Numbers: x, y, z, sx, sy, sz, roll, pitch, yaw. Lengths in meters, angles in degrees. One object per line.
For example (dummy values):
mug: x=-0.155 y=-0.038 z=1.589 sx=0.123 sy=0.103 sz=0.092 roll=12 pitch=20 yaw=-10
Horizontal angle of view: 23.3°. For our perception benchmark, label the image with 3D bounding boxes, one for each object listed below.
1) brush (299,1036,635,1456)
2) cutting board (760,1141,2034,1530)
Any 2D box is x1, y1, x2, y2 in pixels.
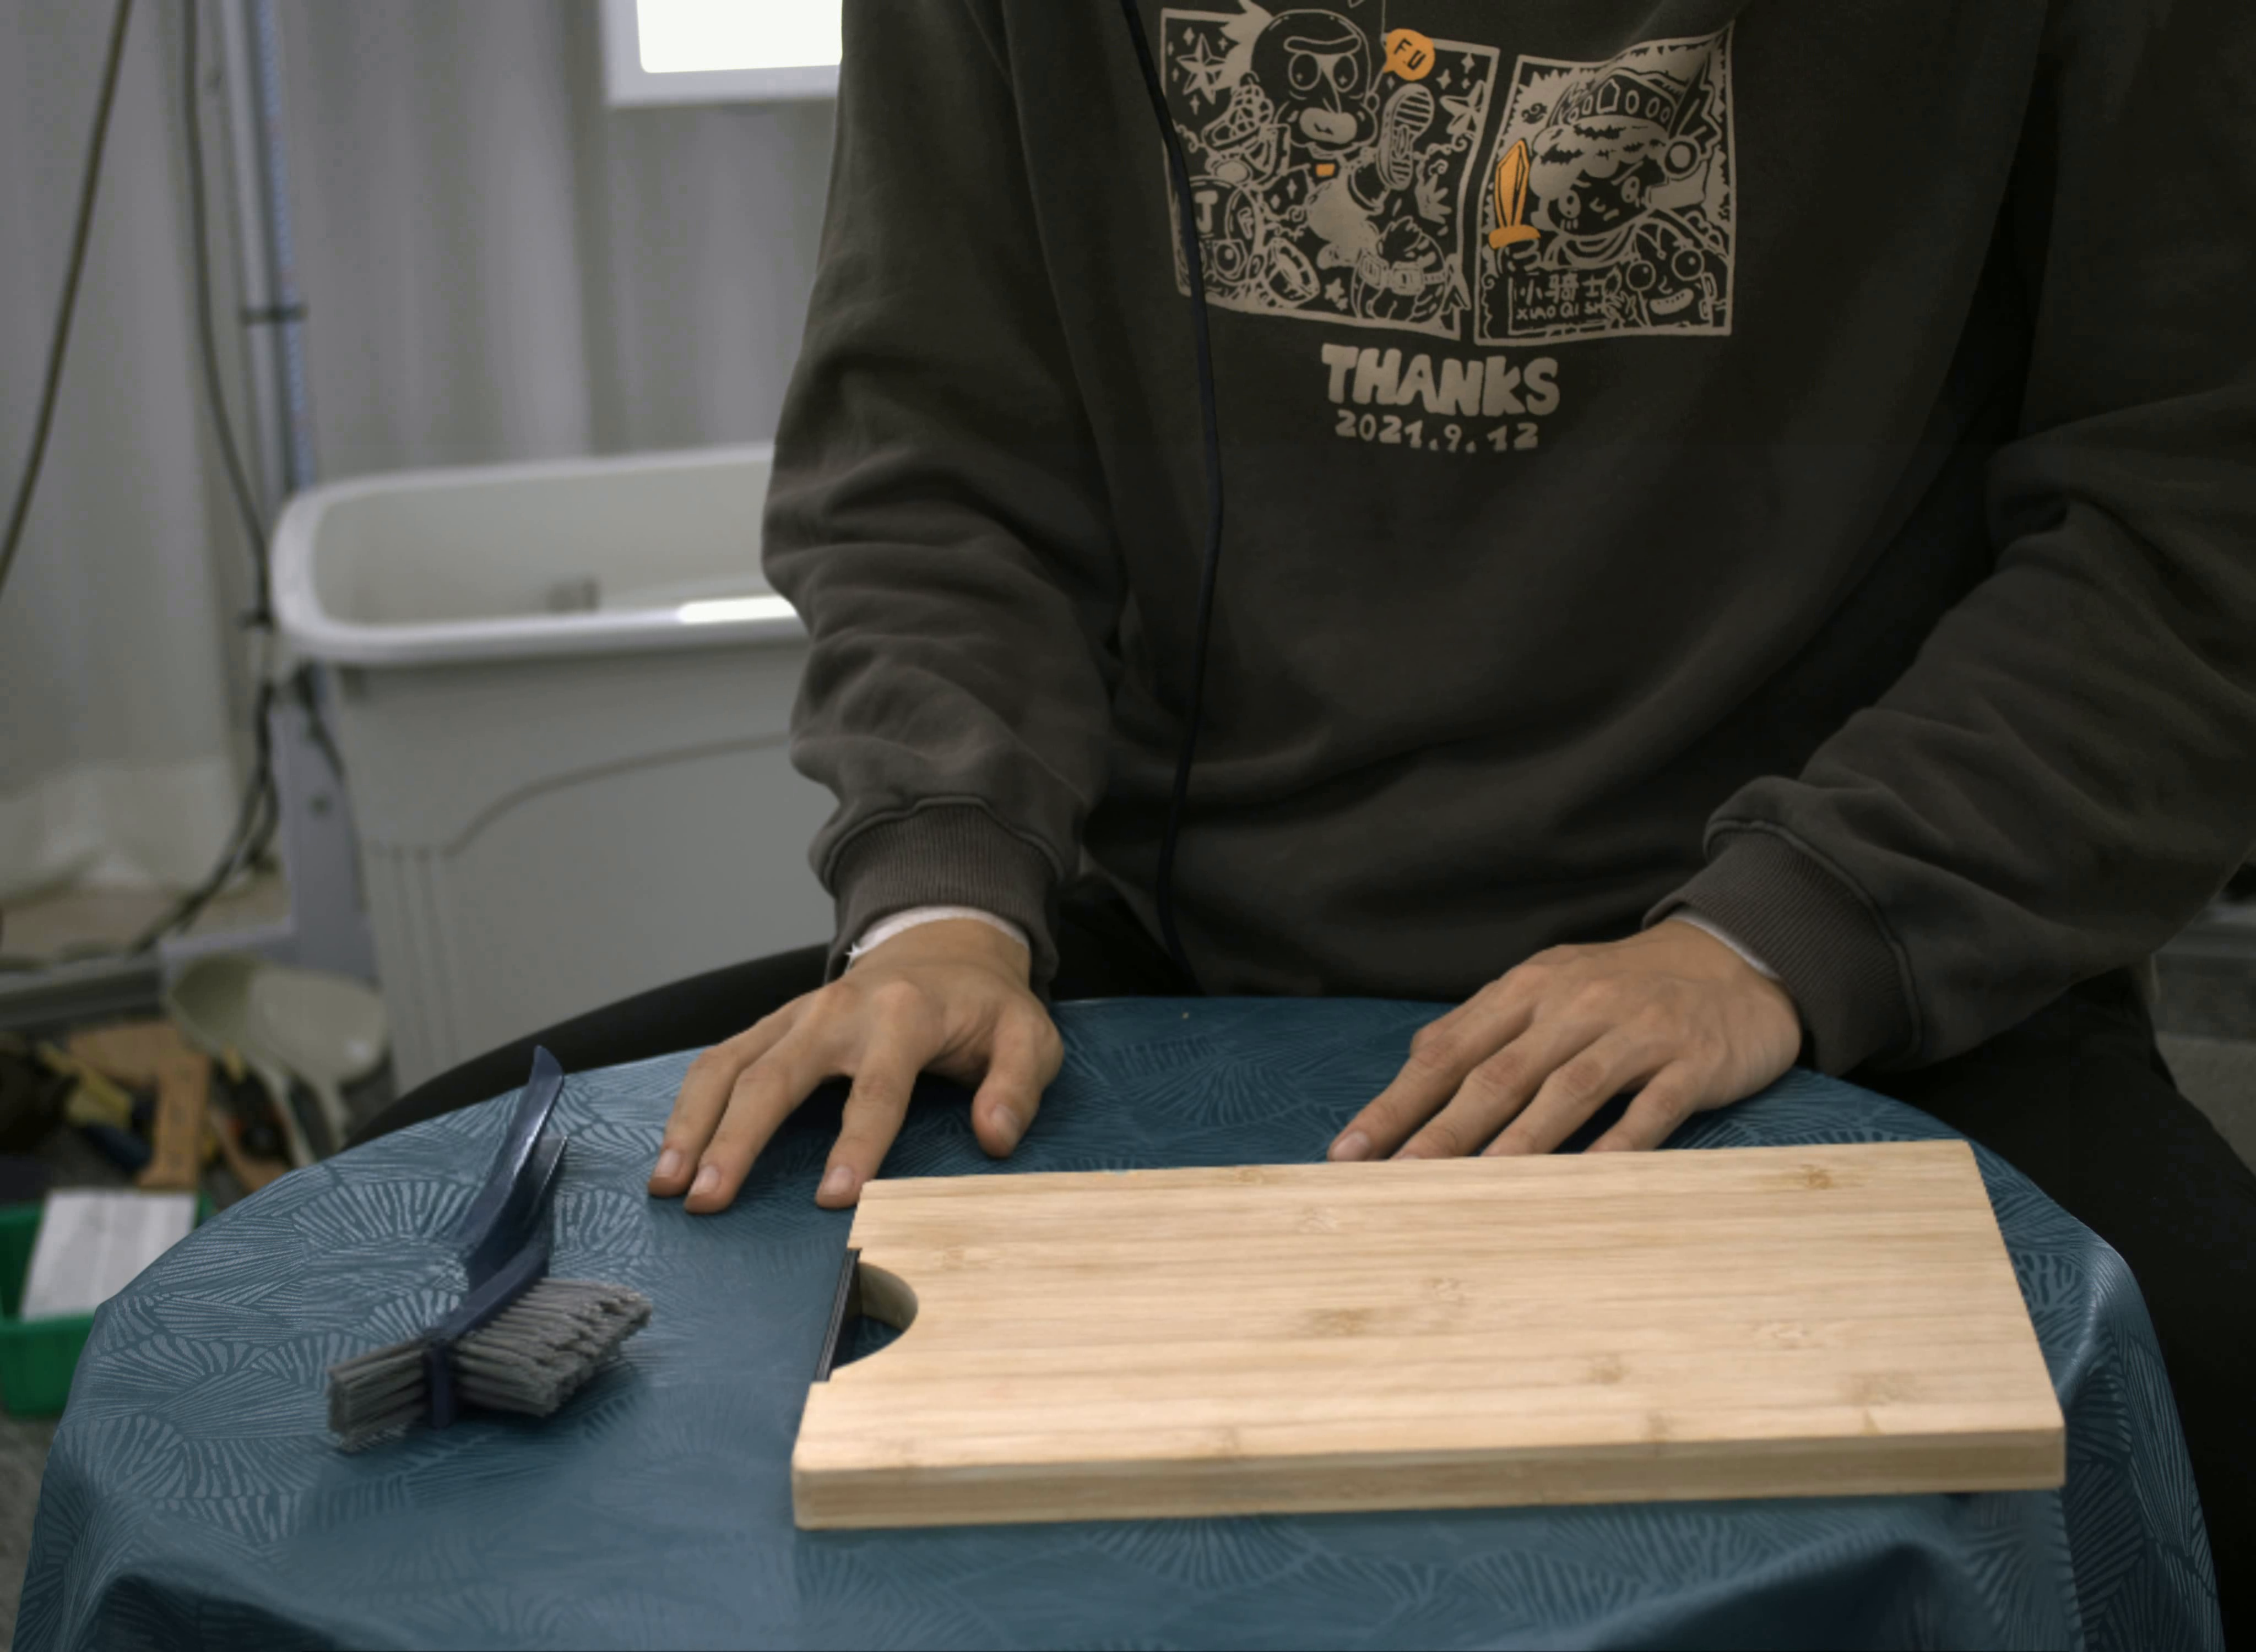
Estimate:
brush: x=-0.199 y=0.124 z=1.667 sx=0.095 sy=0.033 sz=0.275 roll=-4 pitch=16 yaw=-4
cutting board: x=0.077 y=0.144 z=1.568 sx=0.347 sy=0.023 sz=0.252 roll=-2 pitch=14 yaw=2
